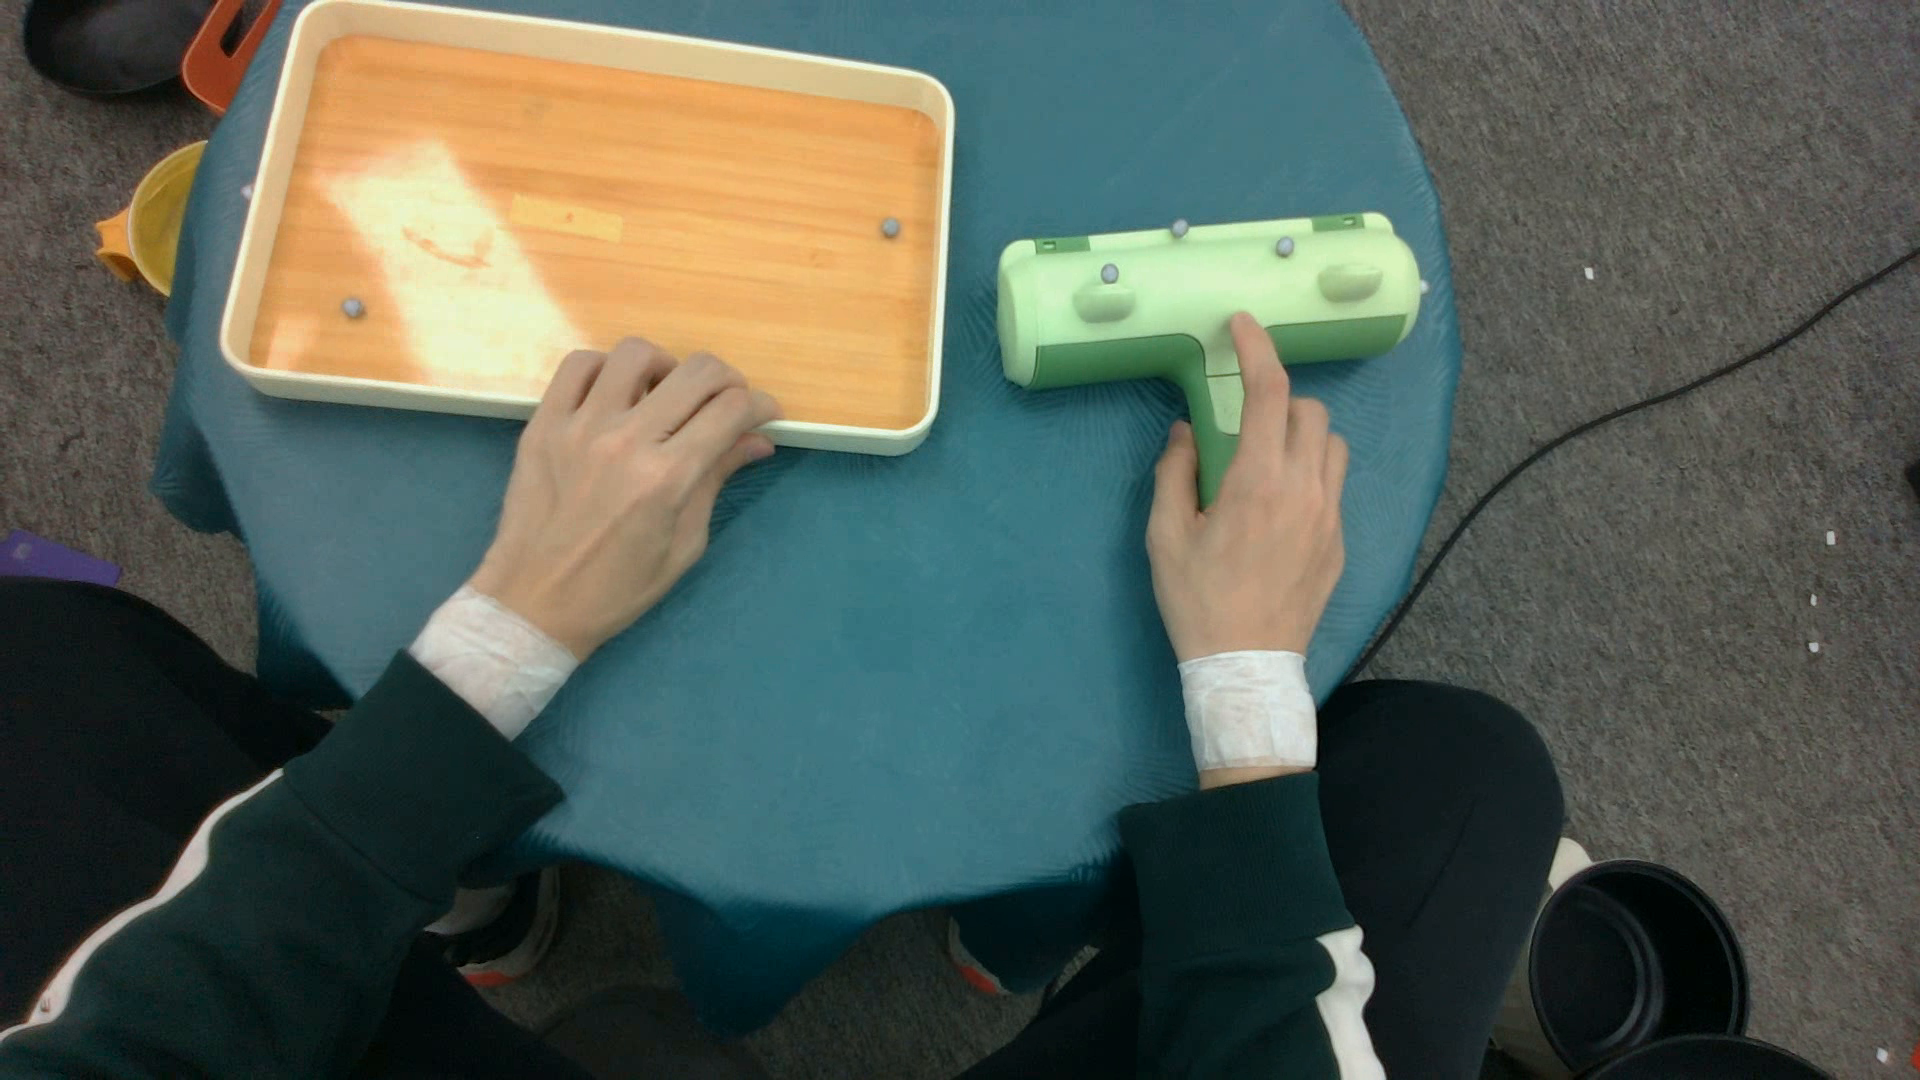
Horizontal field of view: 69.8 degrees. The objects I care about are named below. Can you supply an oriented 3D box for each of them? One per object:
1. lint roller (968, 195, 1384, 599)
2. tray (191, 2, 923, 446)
[{"bbox_3d":[0.114,-0.069,0.629,0.199,0.082,0.183,-8,73,-13],"label":"lint roller"},{"bbox_3d":[-0.168,-0.142,0.620,0.300,0.027,0.192,4,71,-8],"label":"tray"}]
